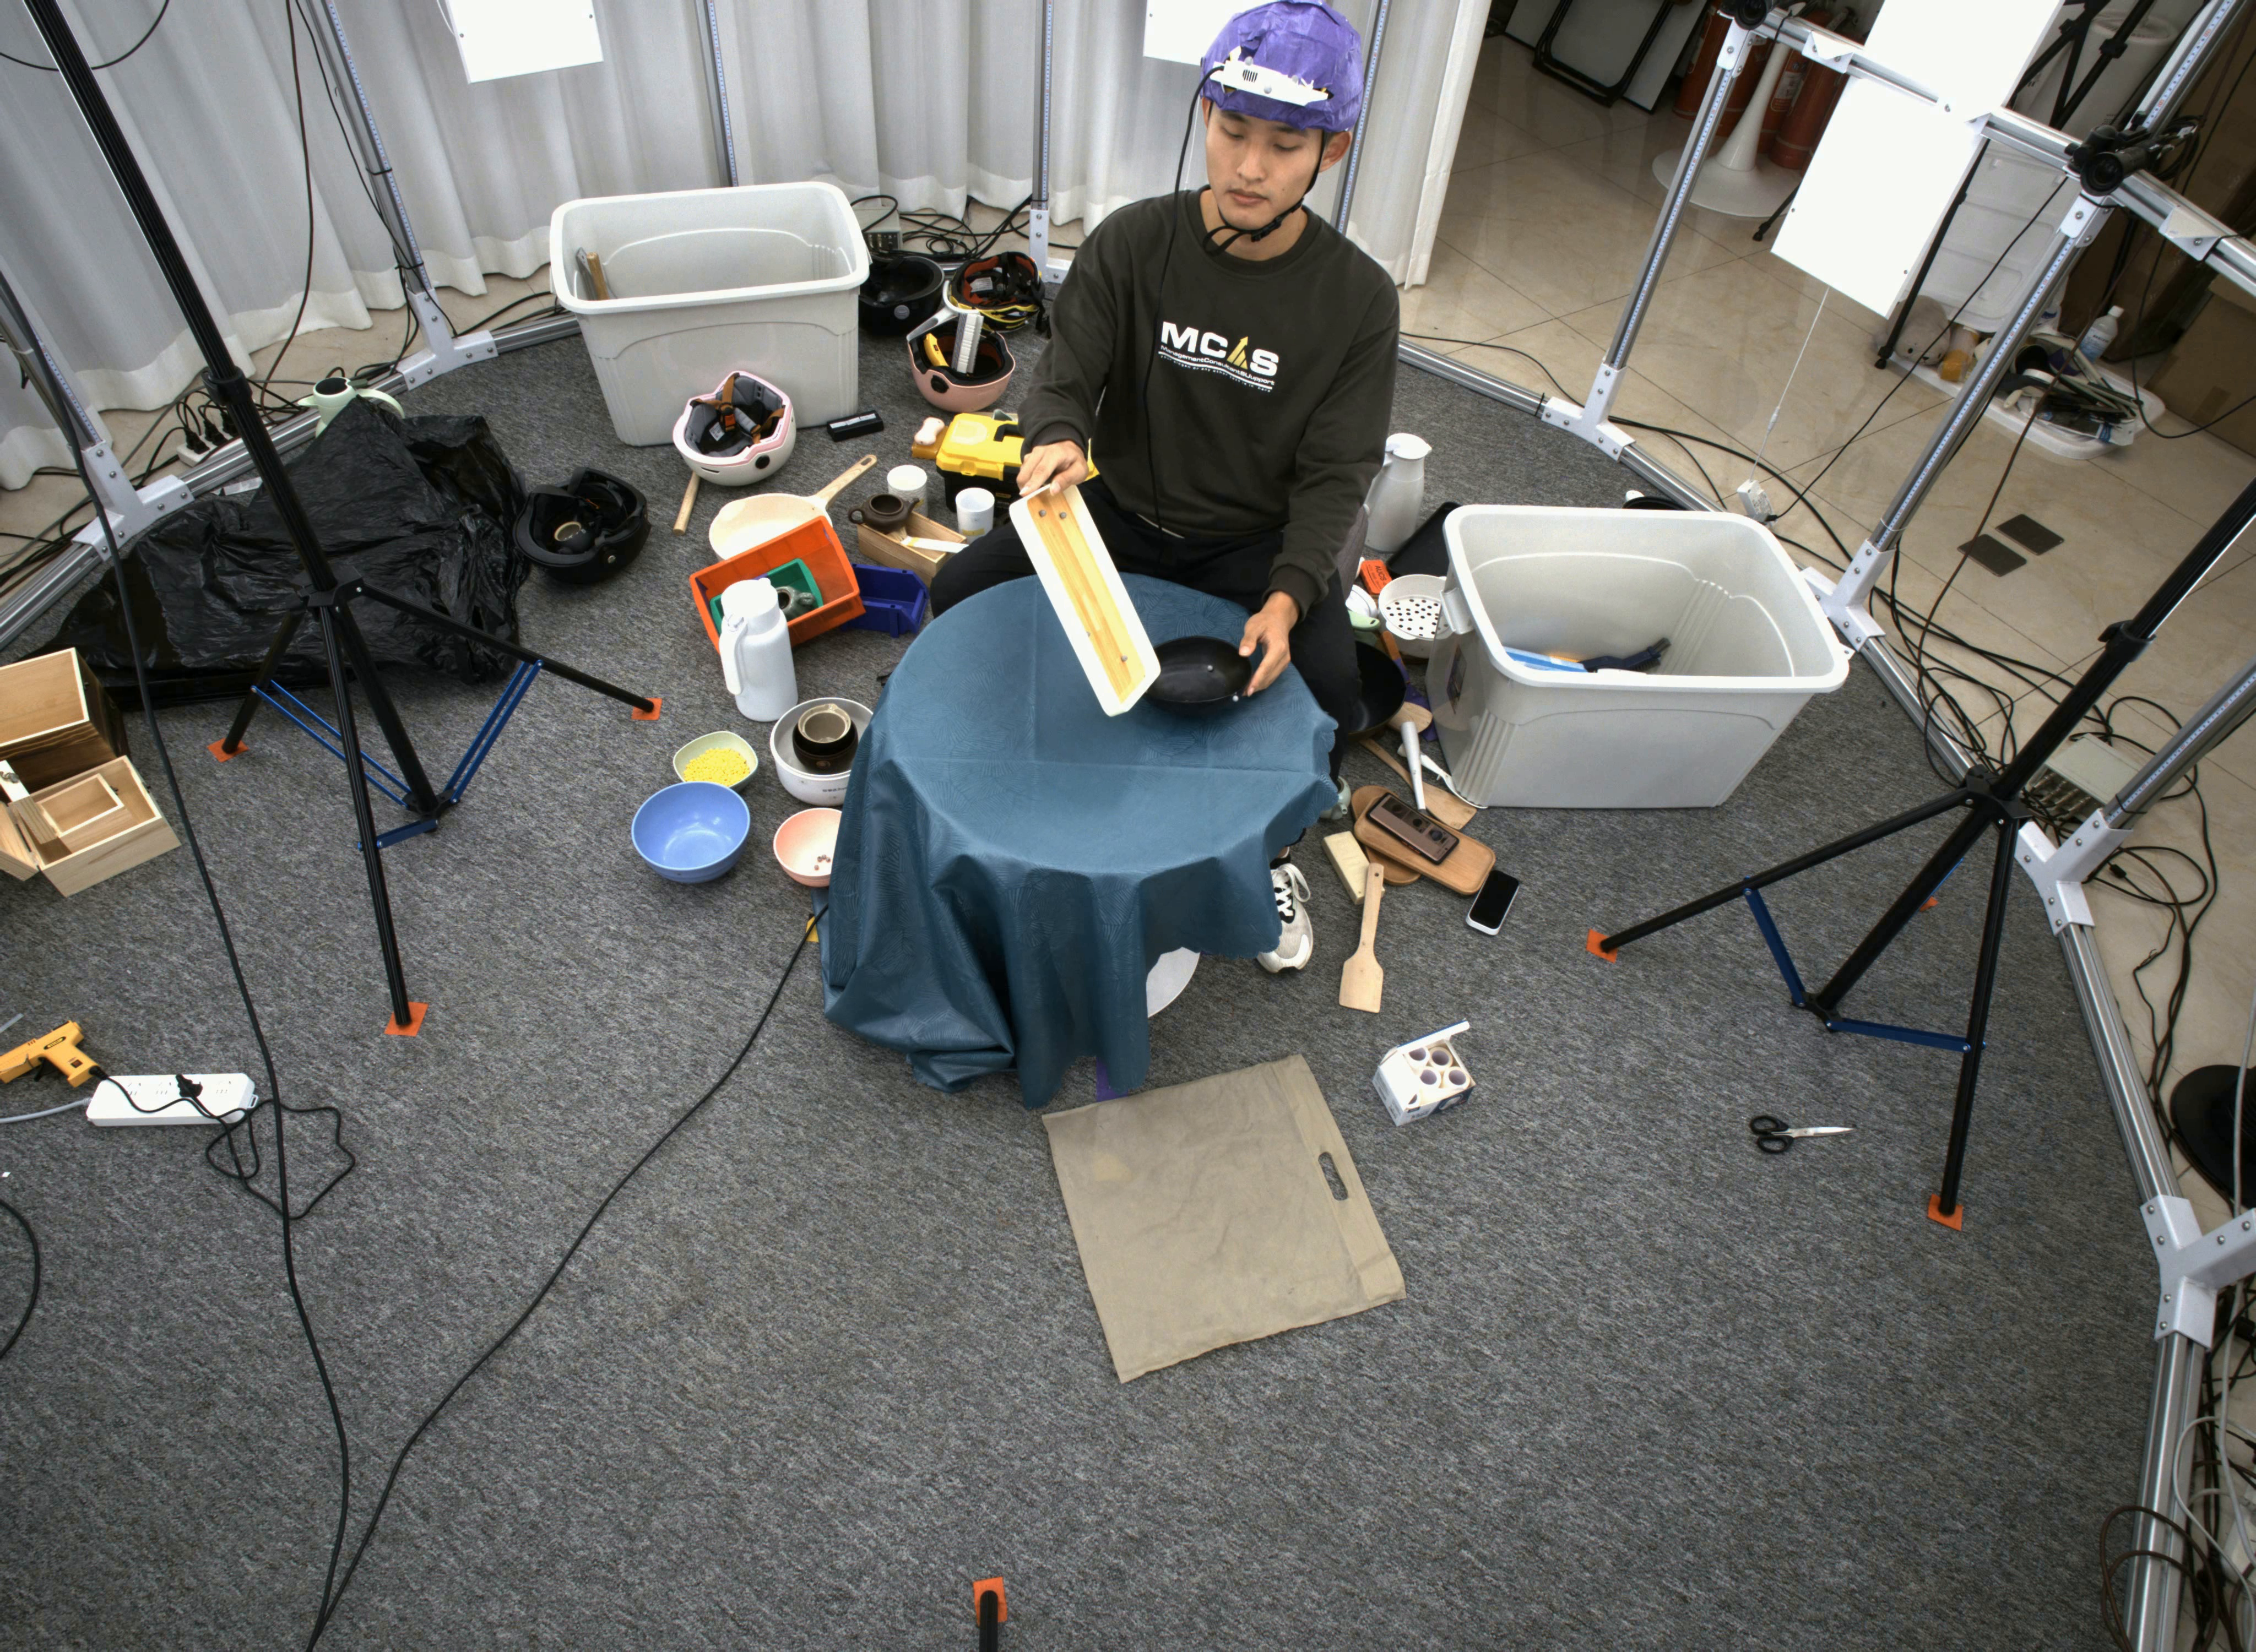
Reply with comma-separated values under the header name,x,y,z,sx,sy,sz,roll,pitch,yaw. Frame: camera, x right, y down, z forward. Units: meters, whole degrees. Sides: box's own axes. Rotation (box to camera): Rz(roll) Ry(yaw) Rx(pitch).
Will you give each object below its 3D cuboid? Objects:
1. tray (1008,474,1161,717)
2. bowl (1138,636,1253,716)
name,x,y,z,sx,sy,sz,roll,pitch,yaw
tray,-0.051,-0.306,1.696,0.027,0.297,0.194,-20,15,25
bowl,0.090,-0.198,1.800,0.170,0.065,0.141,-3,47,3
